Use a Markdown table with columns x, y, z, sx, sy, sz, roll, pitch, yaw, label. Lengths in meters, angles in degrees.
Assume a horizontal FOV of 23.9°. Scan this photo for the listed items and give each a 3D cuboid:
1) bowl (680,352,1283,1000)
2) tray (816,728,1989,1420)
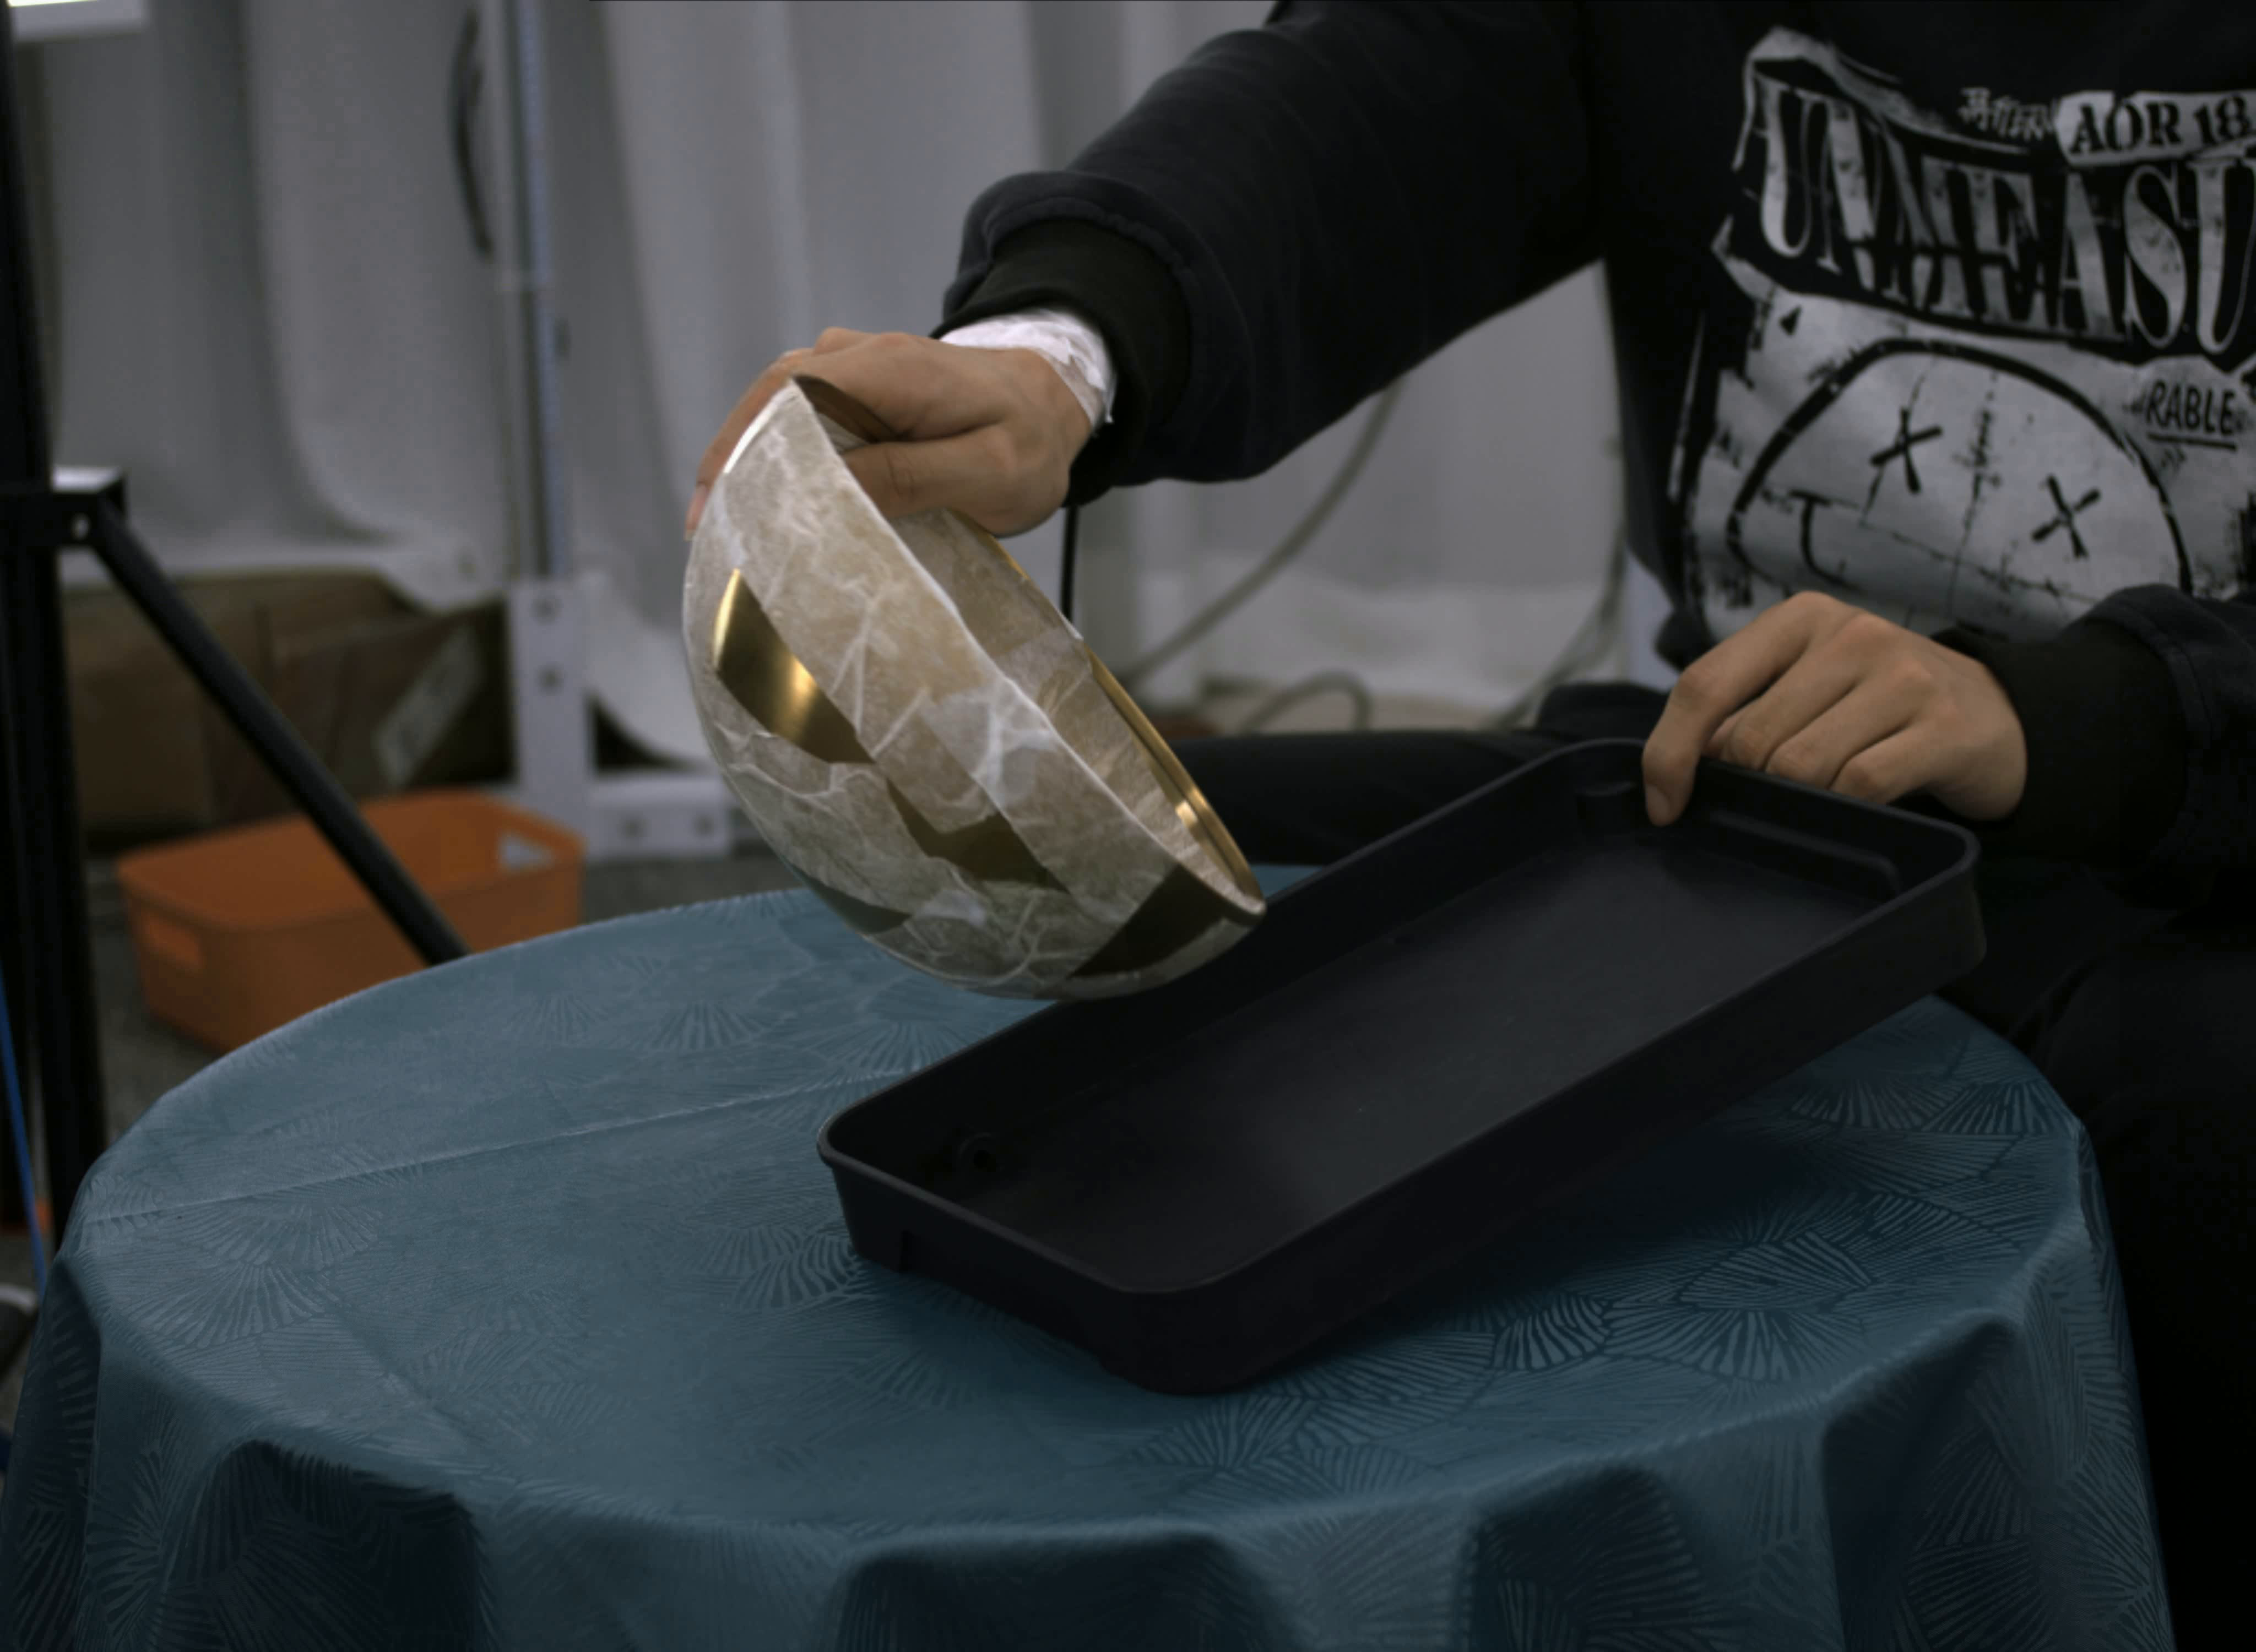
| x | y | z | sx | sy | sz | roll | pitch | yaw | label |
| --- | --- | --- | --- | --- | --- | --- | --- | --- | --- |
| -0.056 | -0.022 | 1.488 | 0.095 | 0.212 | 0.216 | -42 | 14 | 7 | bowl |
| 0.082 | 0.064 | 1.530 | 0.313 | 0.037 | 0.188 | -27 | 27 | -26 | tray |
